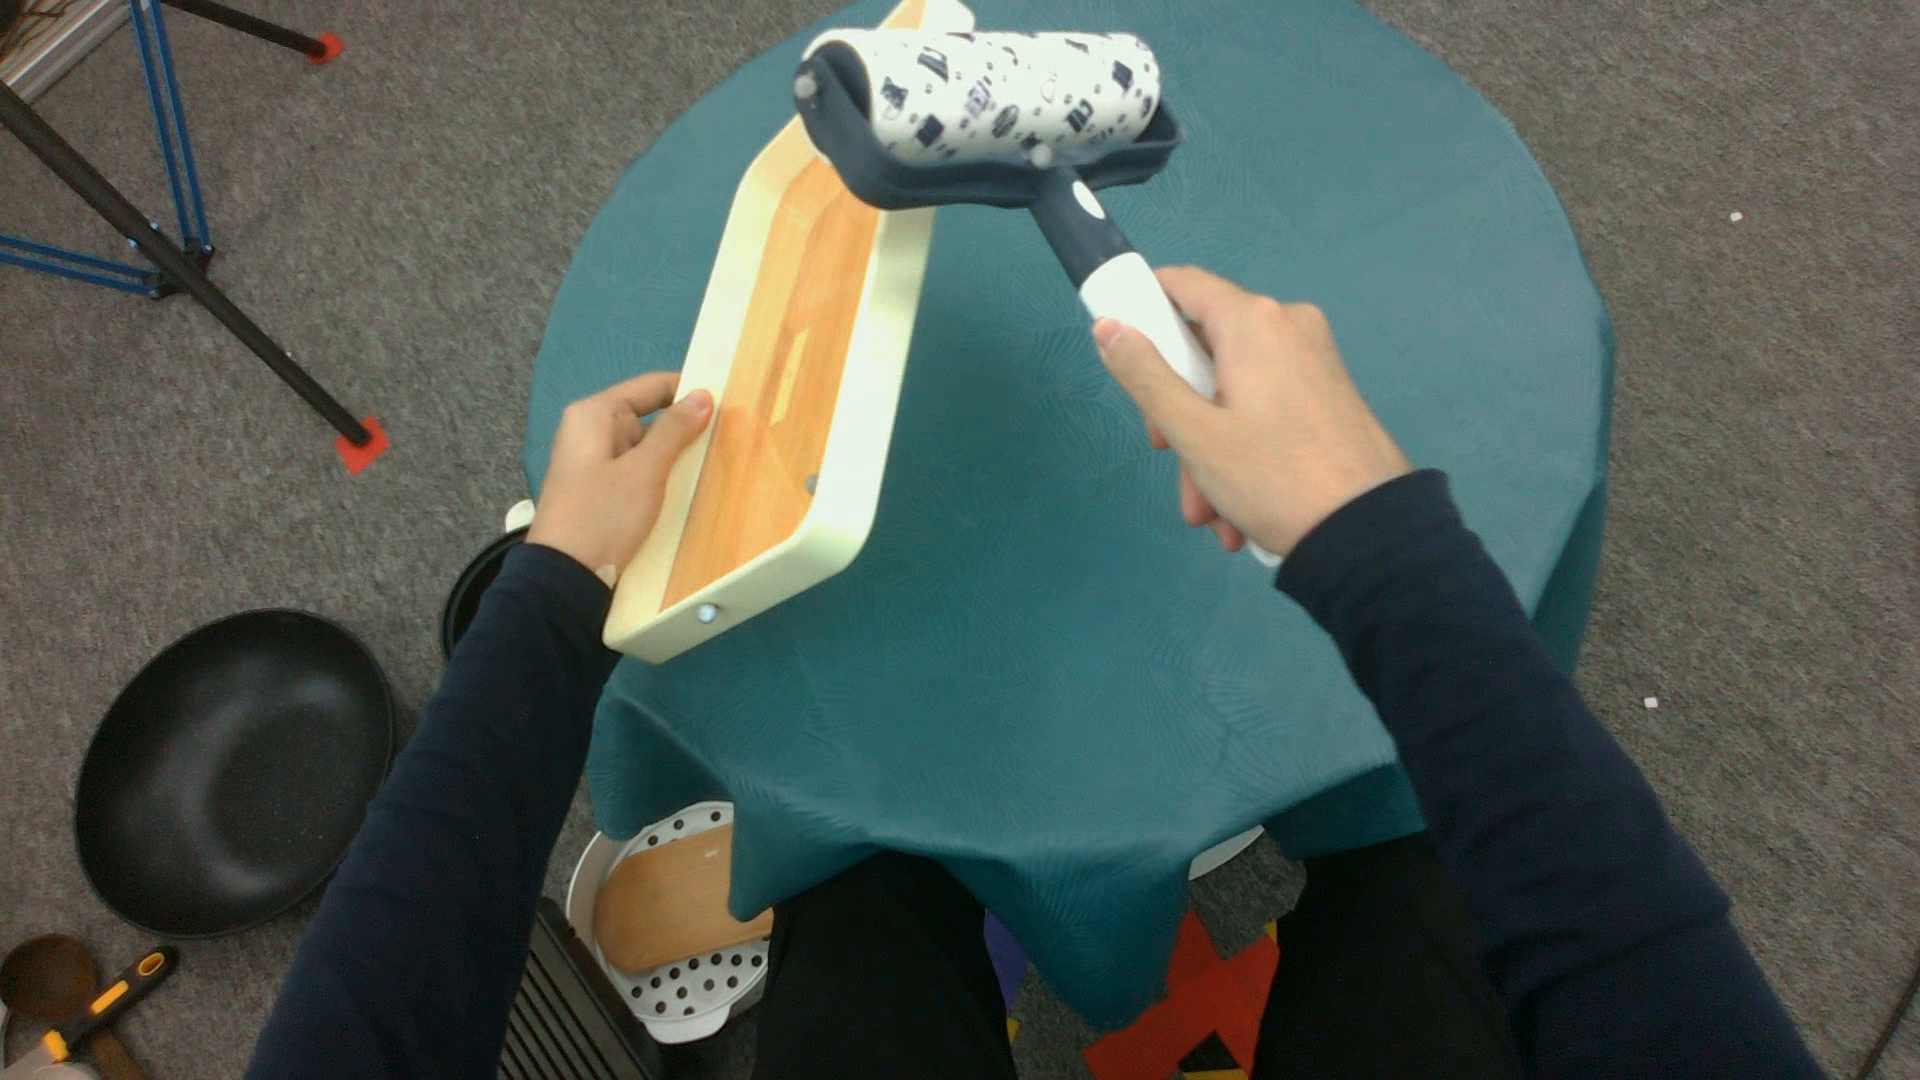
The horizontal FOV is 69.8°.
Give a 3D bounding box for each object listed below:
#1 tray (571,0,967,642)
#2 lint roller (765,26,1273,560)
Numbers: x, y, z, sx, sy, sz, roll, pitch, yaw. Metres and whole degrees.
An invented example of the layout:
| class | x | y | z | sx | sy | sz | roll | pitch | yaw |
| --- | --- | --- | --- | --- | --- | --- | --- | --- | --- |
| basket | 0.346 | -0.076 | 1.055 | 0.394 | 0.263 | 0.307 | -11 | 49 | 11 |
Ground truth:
| class | x | y | z | sx | sy | sz | roll | pitch | yaw |
| --- | --- | --- | --- | --- | --- | --- | --- | --- | --- |
| tray | -0.086 | -0.109 | 0.631 | 0.191 | 0.027 | 0.301 | -23 | 48 | 46 |
| lint roller | 0.052 | -0.103 | 0.536 | 0.177 | 0.050 | 0.247 | -21 | 72 | -42 |
